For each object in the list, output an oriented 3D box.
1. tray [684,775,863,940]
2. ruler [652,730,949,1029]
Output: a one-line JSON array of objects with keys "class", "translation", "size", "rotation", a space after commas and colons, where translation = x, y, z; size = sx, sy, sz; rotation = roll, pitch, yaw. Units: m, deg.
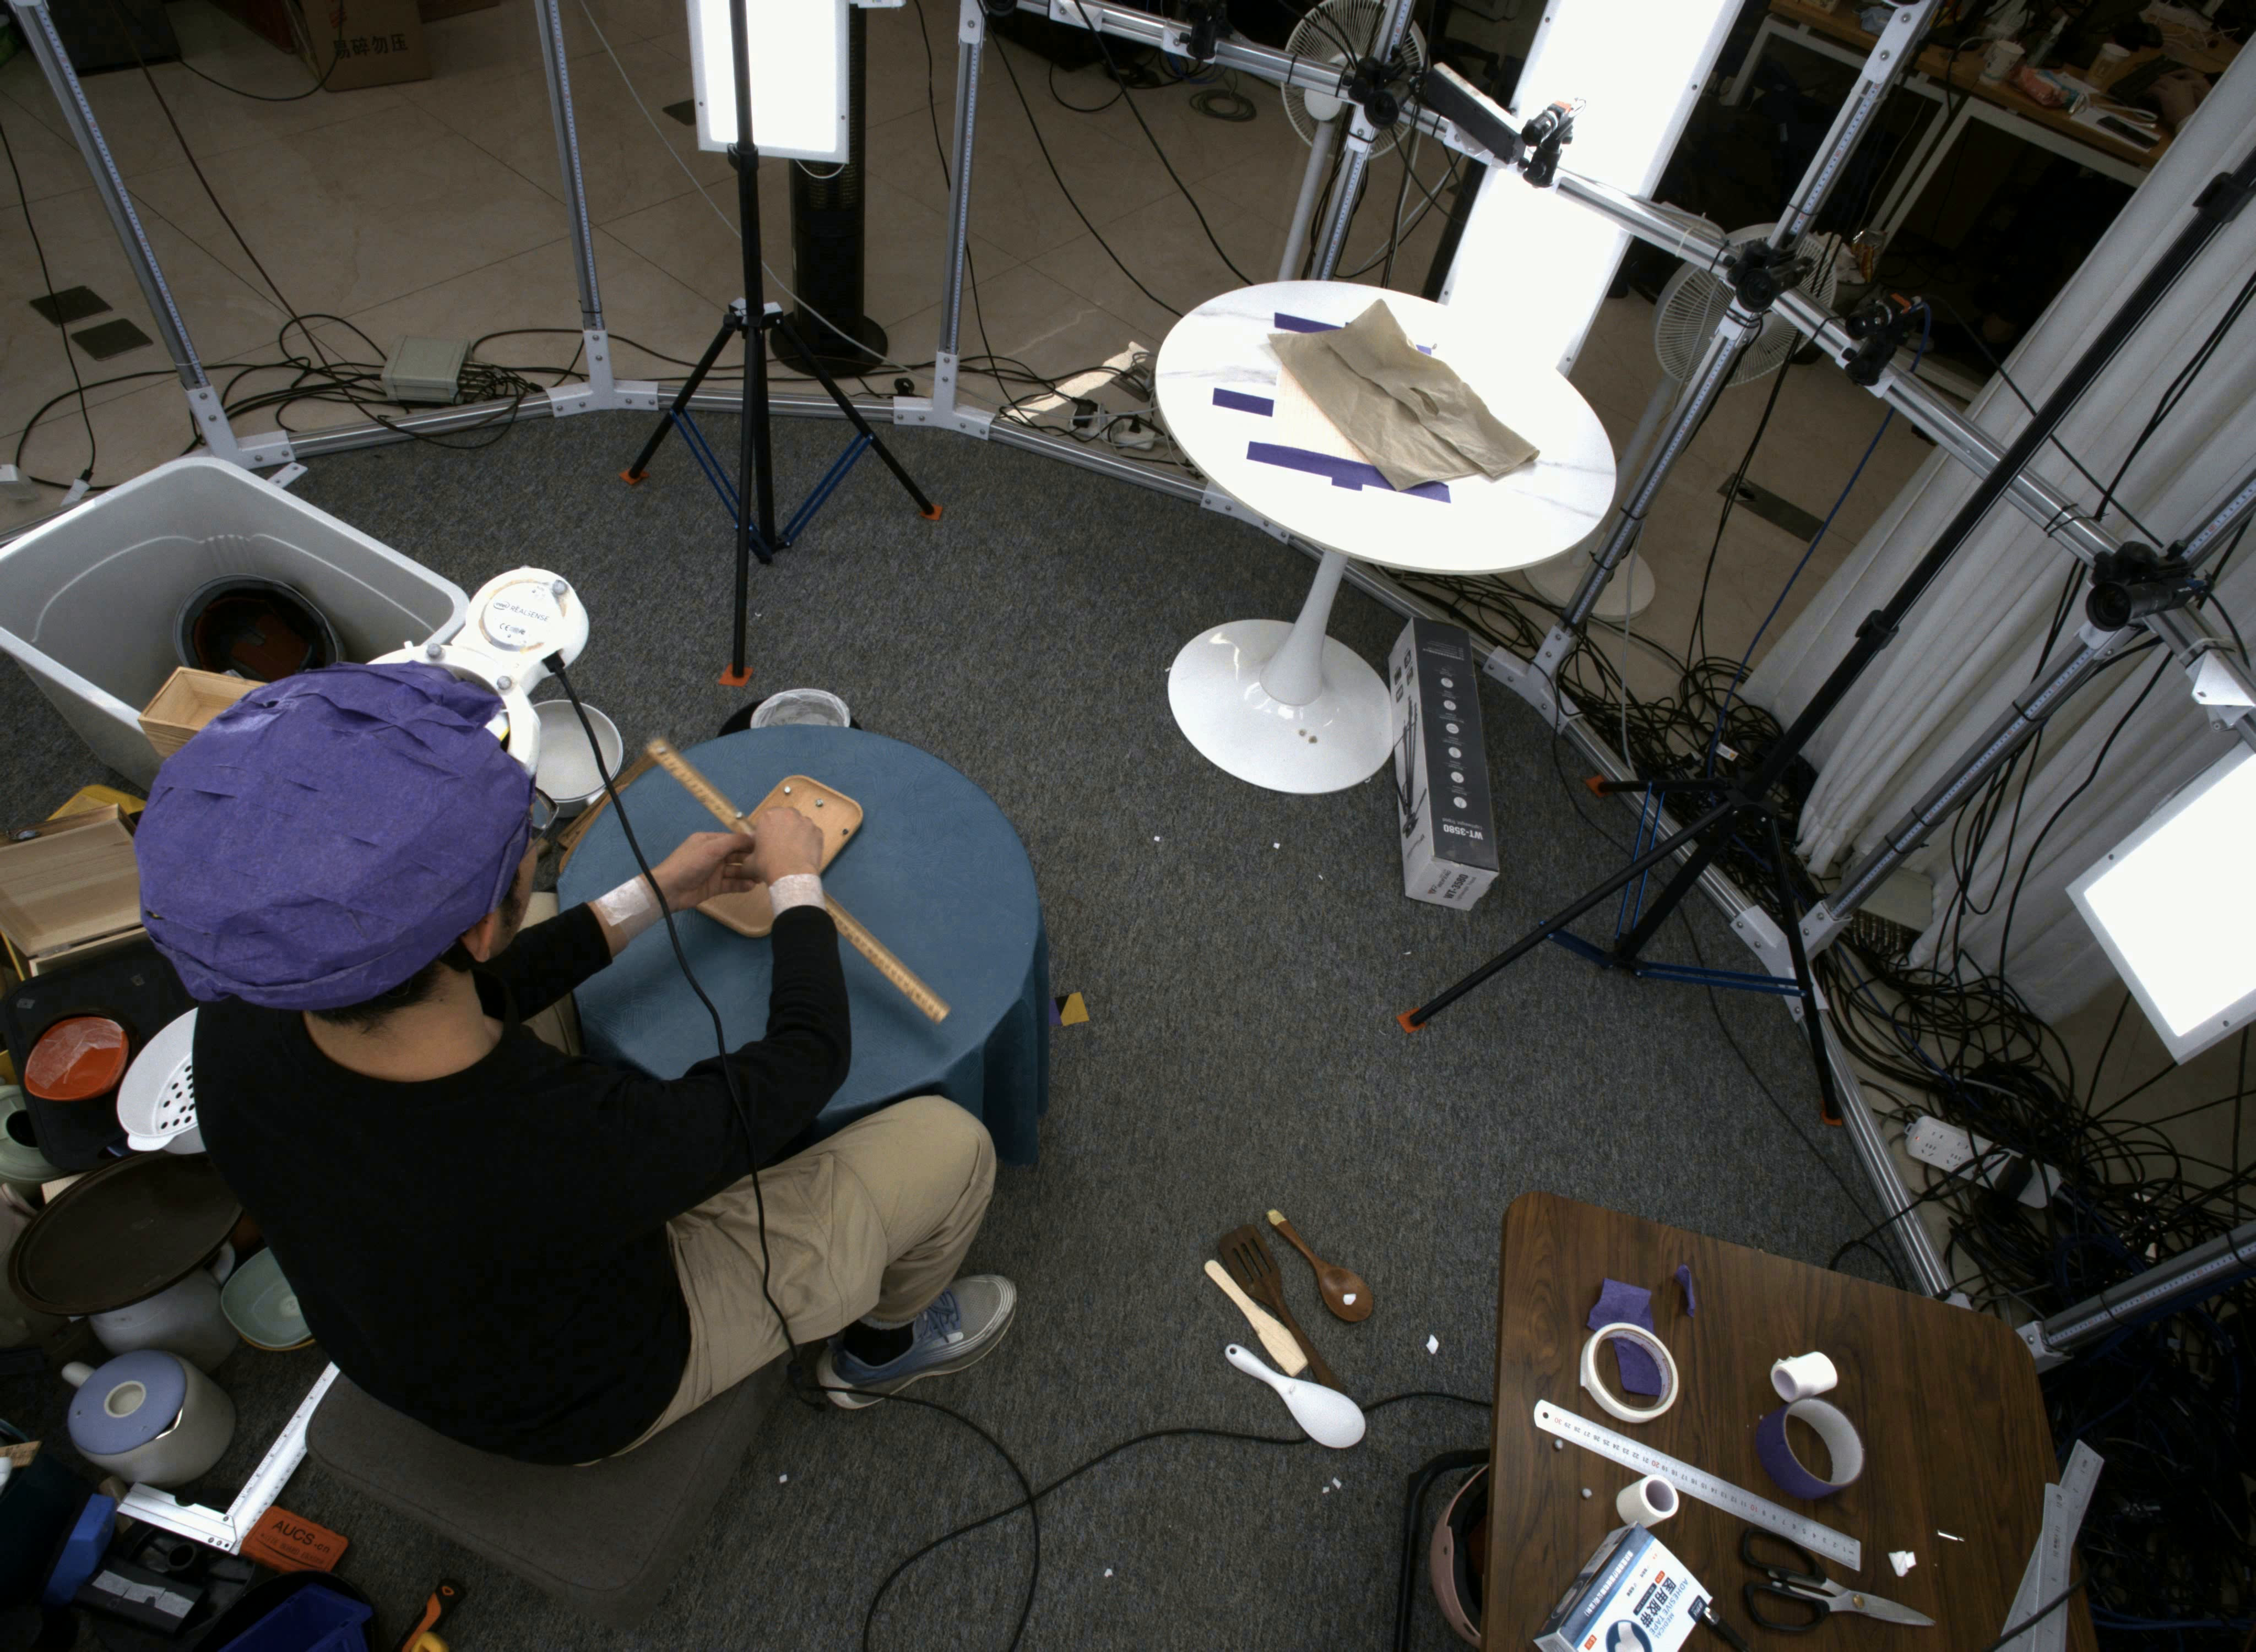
[{"class": "tray", "translation": [-0.454, 0.036, 1.673], "size": [0.128, 0.023, 0.249], "rotation": [27, 53, 9]}, {"class": "ruler", "translation": [-0.400, 0.060, 1.562], "size": [0.498, 0.006, 0.027], "rotation": [44, 65, 3]}]
